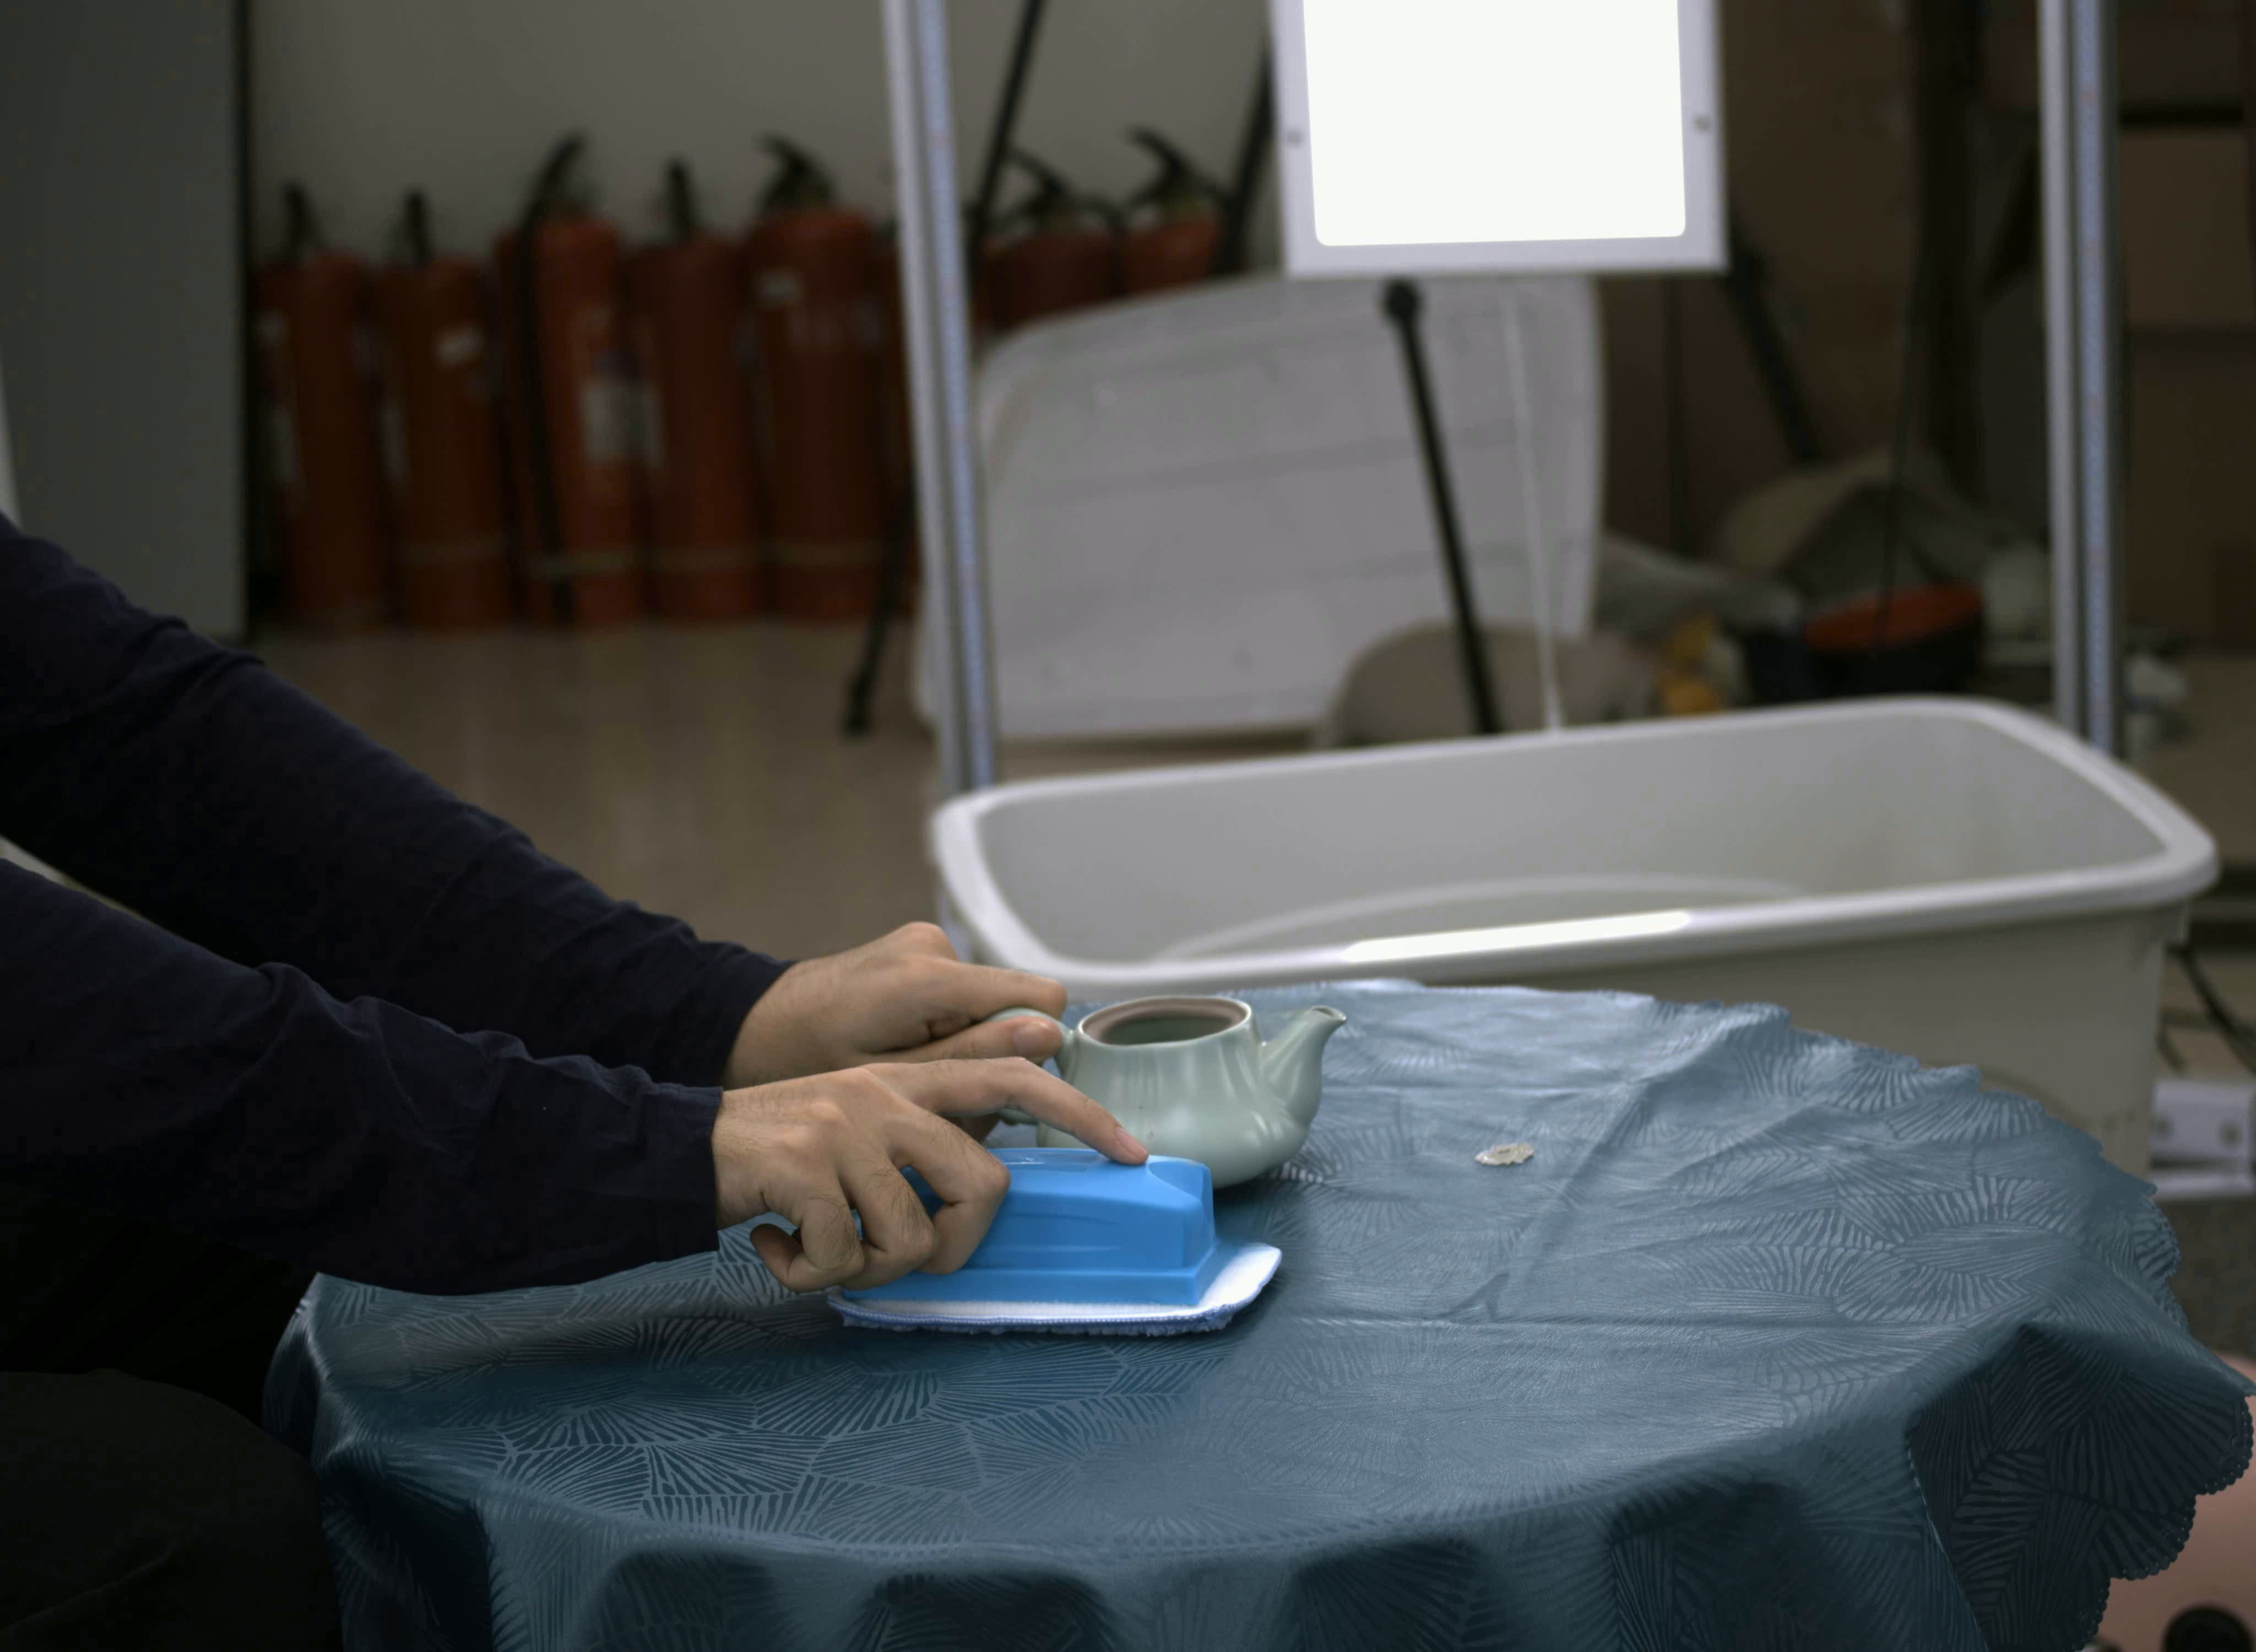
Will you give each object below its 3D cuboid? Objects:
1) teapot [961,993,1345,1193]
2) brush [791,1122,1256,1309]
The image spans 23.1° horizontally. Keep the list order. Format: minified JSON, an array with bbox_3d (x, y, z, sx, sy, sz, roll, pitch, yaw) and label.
[{"bbox_3d":[0.010,0.093,1.908,0.138,0.061,0.095,-1,16,15],"label":"teapot"},{"bbox_3d":[-0.033,0.126,1.784,0.146,0.056,0.082,2,12,20],"label":"brush"}]
